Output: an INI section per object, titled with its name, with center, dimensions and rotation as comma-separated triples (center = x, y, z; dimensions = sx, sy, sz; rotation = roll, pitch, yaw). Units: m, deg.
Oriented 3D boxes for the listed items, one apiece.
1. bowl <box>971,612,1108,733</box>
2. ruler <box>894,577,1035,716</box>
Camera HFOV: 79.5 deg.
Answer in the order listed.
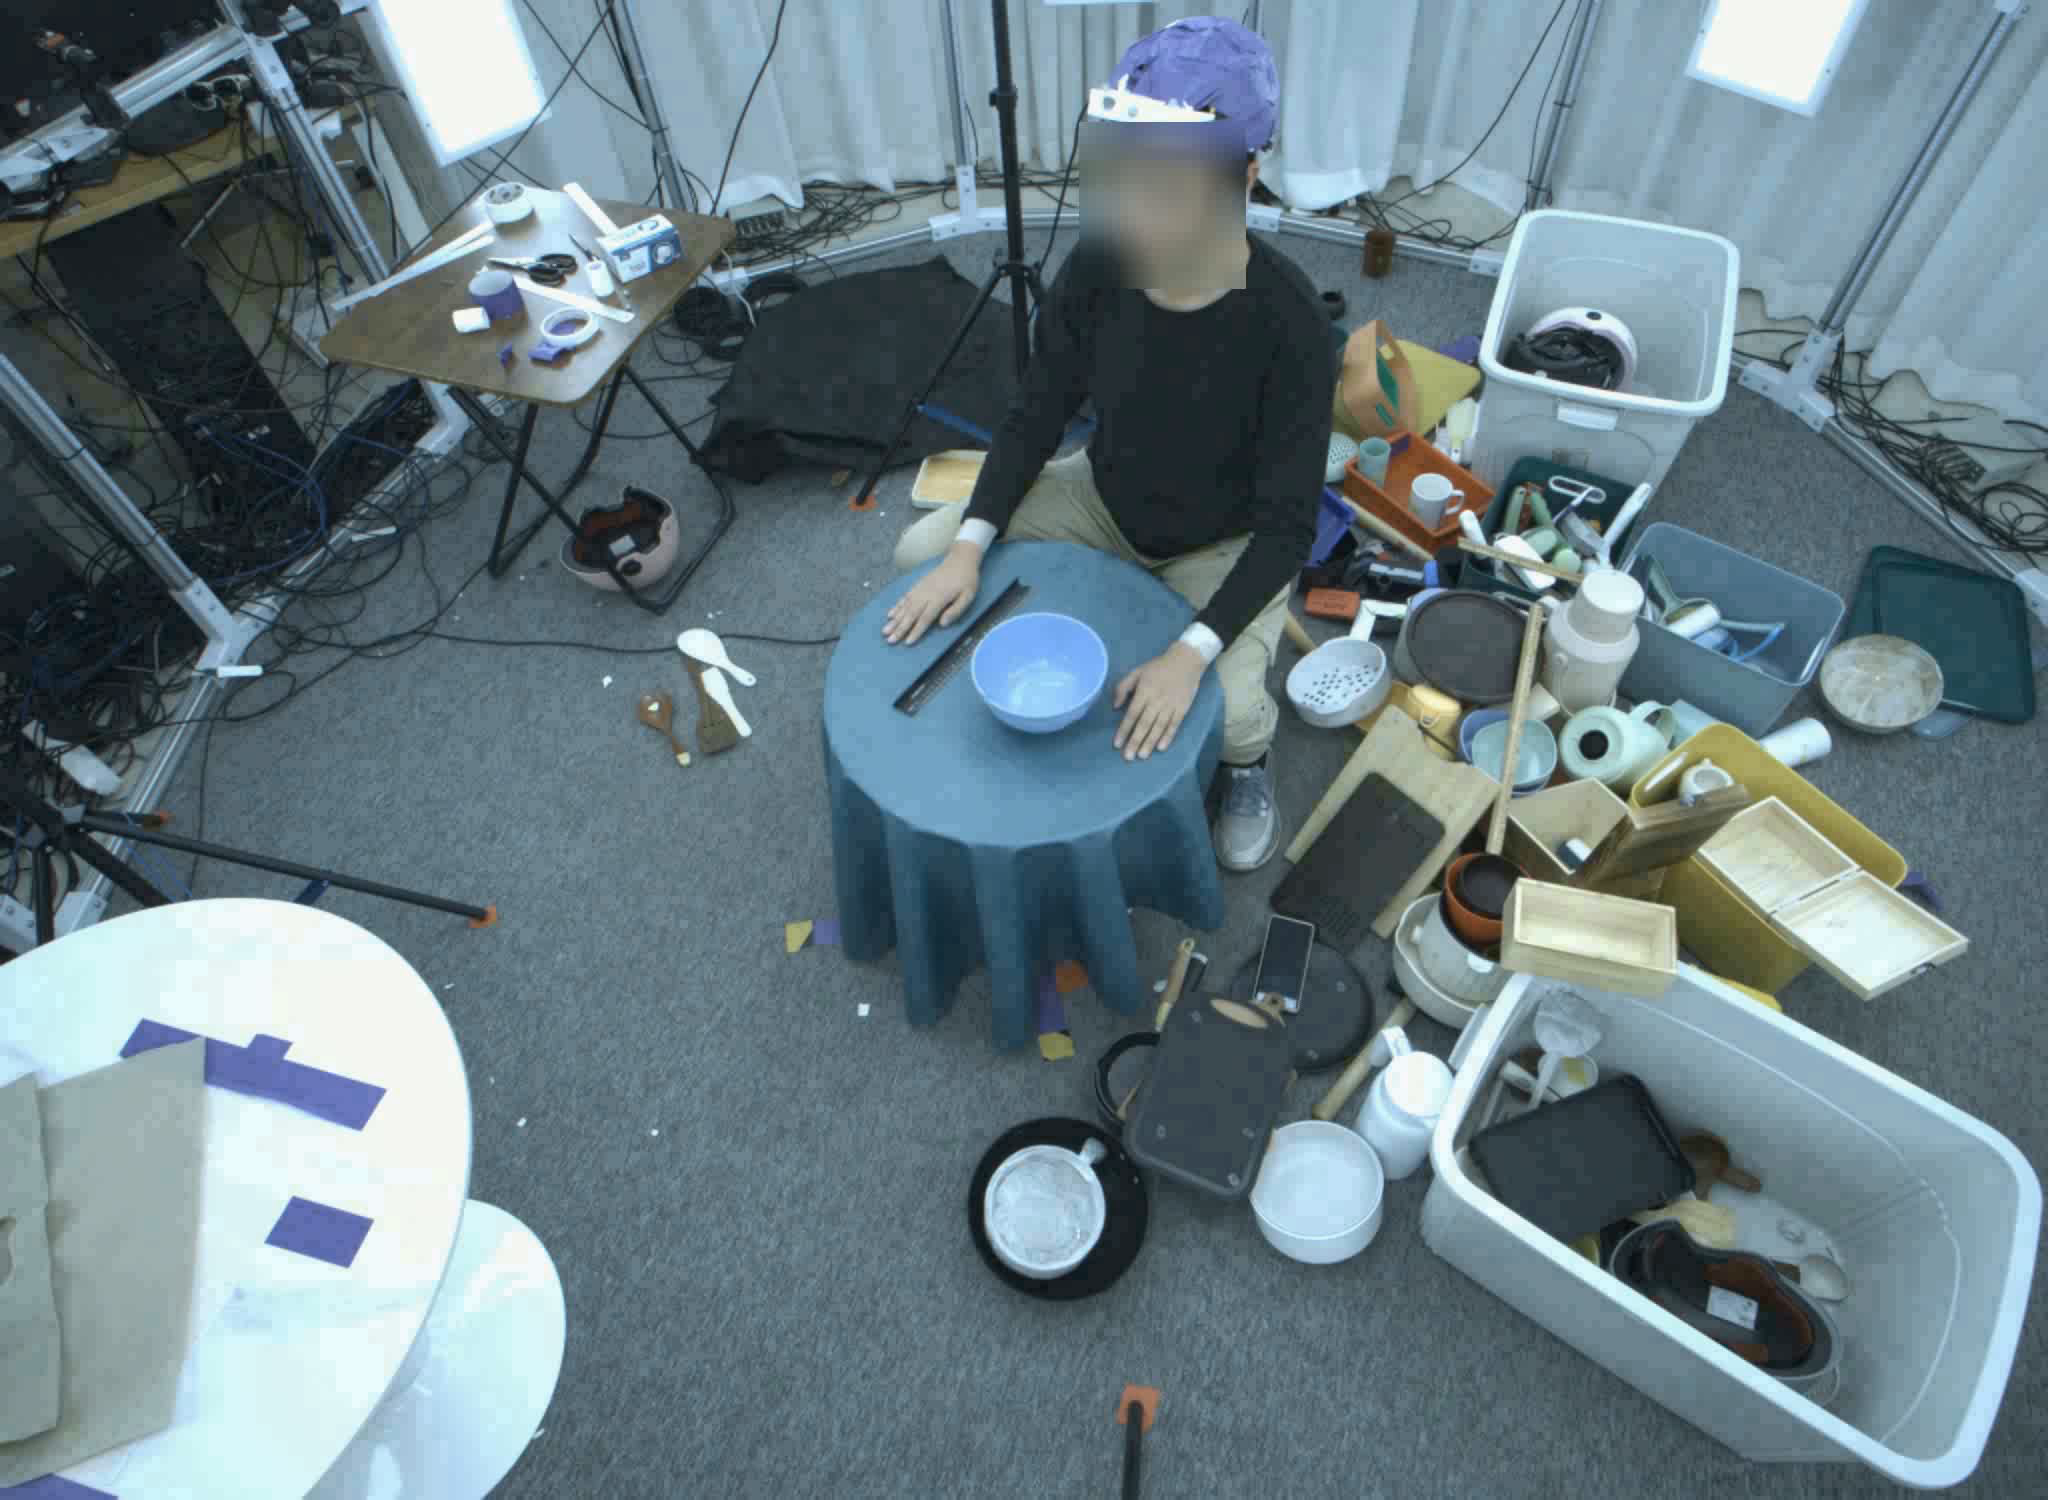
[bowl]
center = 0.024, -0.098, 1.798
dimensions = 0.196, 0.096, 0.194
rotation = -1, 55, 2
[ruler]
center = -0.090, -0.165, 1.898
dimensions = 0.039, 0.017, 0.314
rotation = 33, 62, 18
